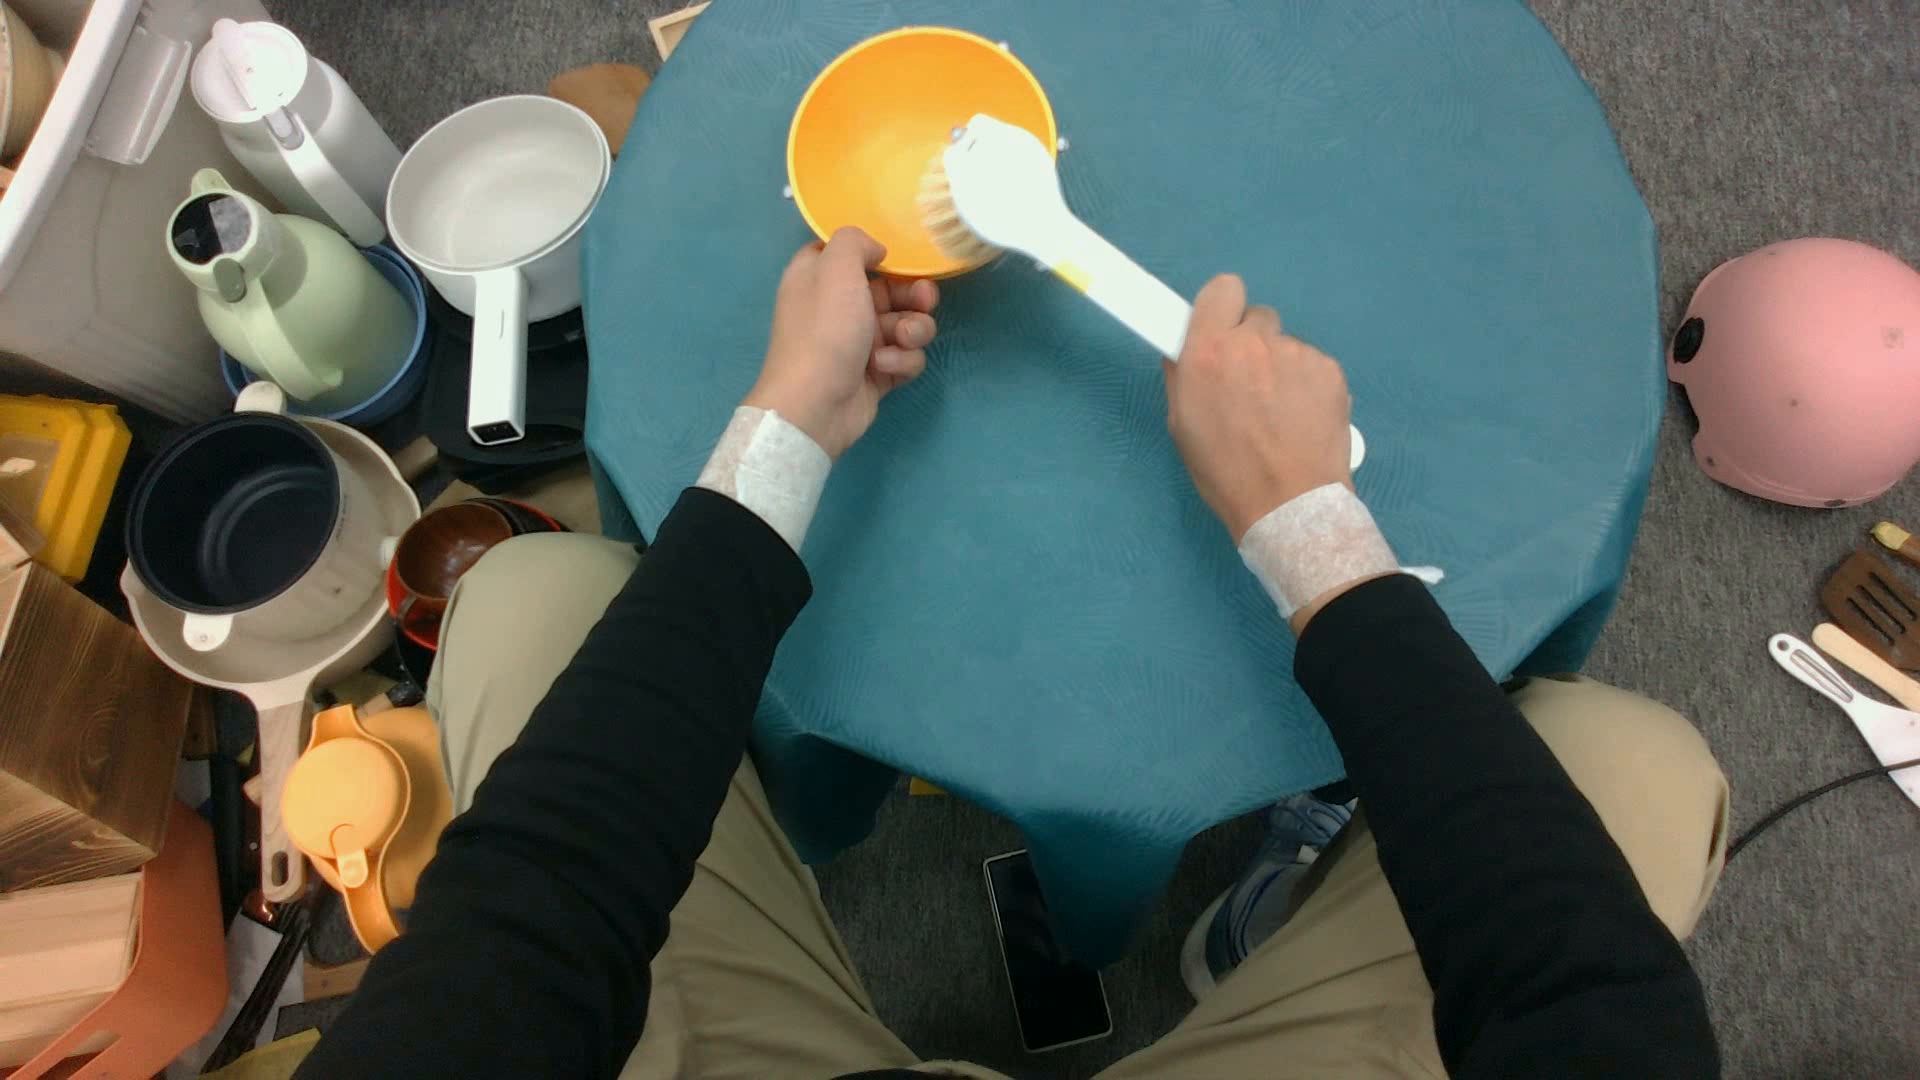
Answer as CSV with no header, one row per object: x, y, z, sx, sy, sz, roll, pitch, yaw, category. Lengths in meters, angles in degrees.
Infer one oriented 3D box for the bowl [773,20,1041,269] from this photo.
-0.026,-0.208,0.761,0.145,0.060,0.145,-1,77,5,bowl

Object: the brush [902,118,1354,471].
0.085,-0.117,0.701,0.266,0.056,0.068,37,80,-8,brush
